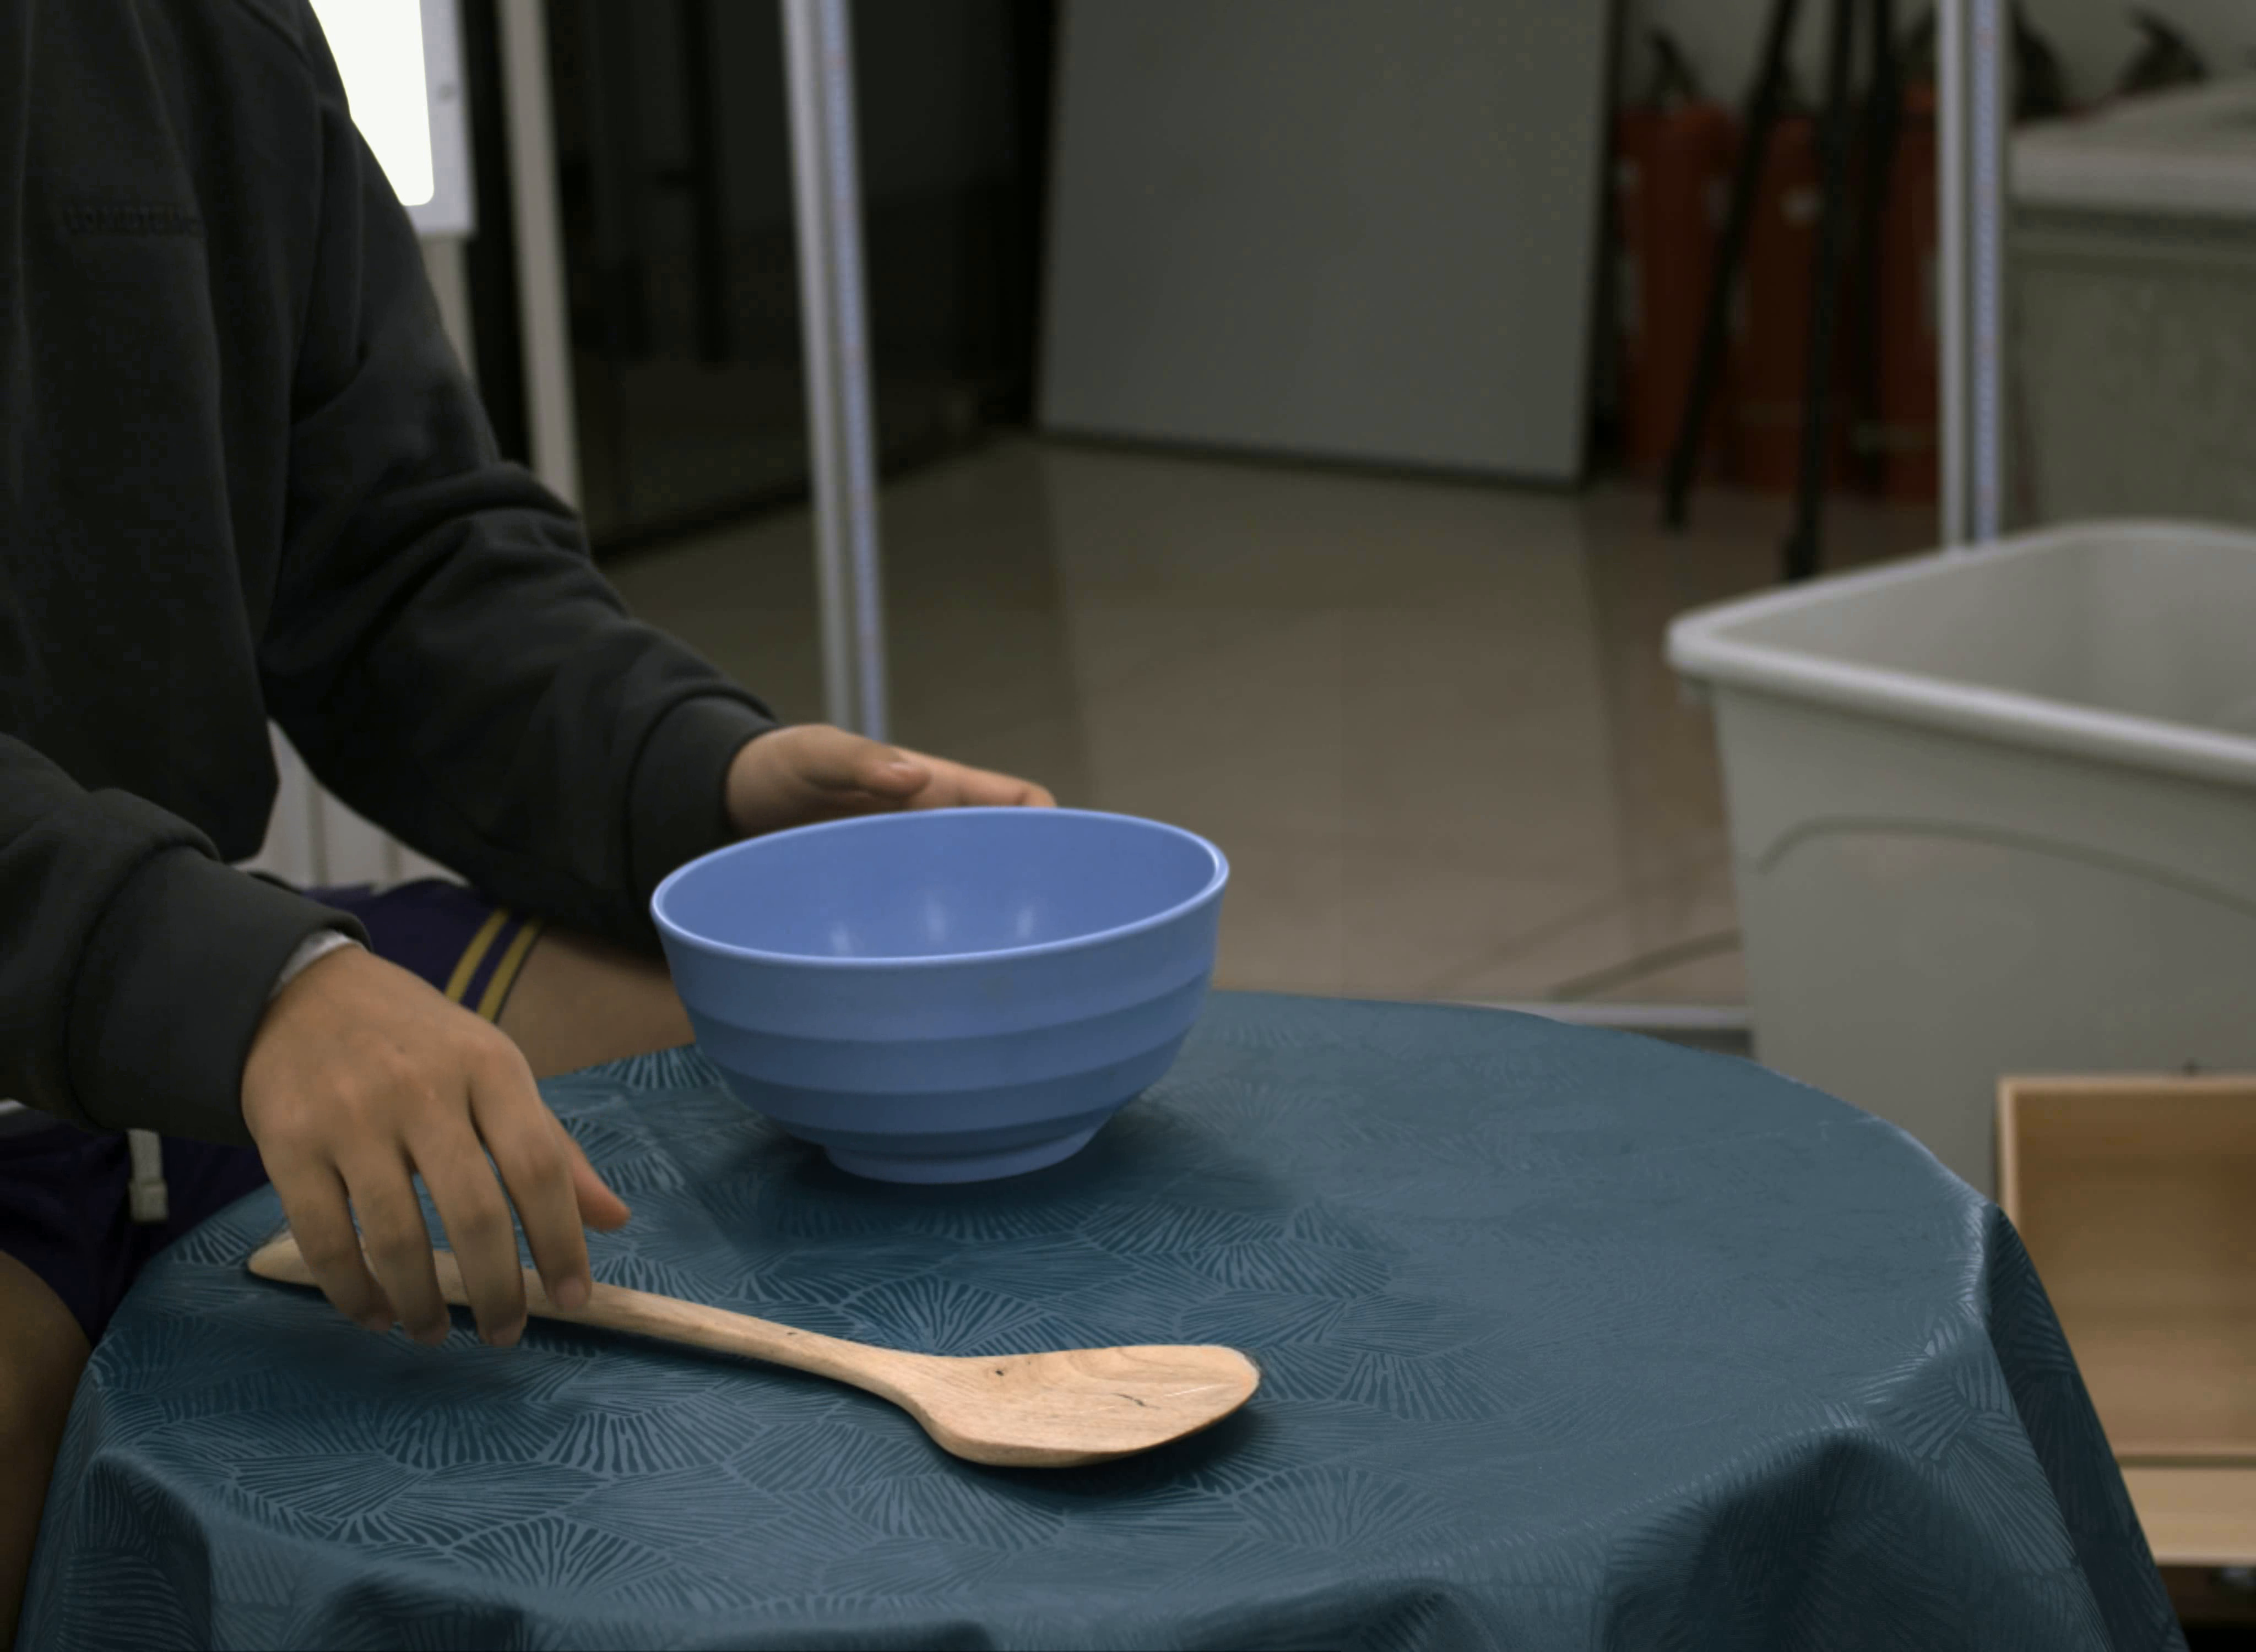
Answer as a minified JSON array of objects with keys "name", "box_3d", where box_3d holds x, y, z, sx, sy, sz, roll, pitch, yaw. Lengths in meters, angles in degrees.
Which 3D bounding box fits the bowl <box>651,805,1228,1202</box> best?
[{"name":"bowl","box_3d":[-0.060,0.066,1.823,0.194,0.096,0.197,-5,16,0]}]

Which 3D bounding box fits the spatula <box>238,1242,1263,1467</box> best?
[{"name":"spatula","box_3d":[-0.131,0.155,1.633,0.393,0.018,0.094,7,15,37]}]
